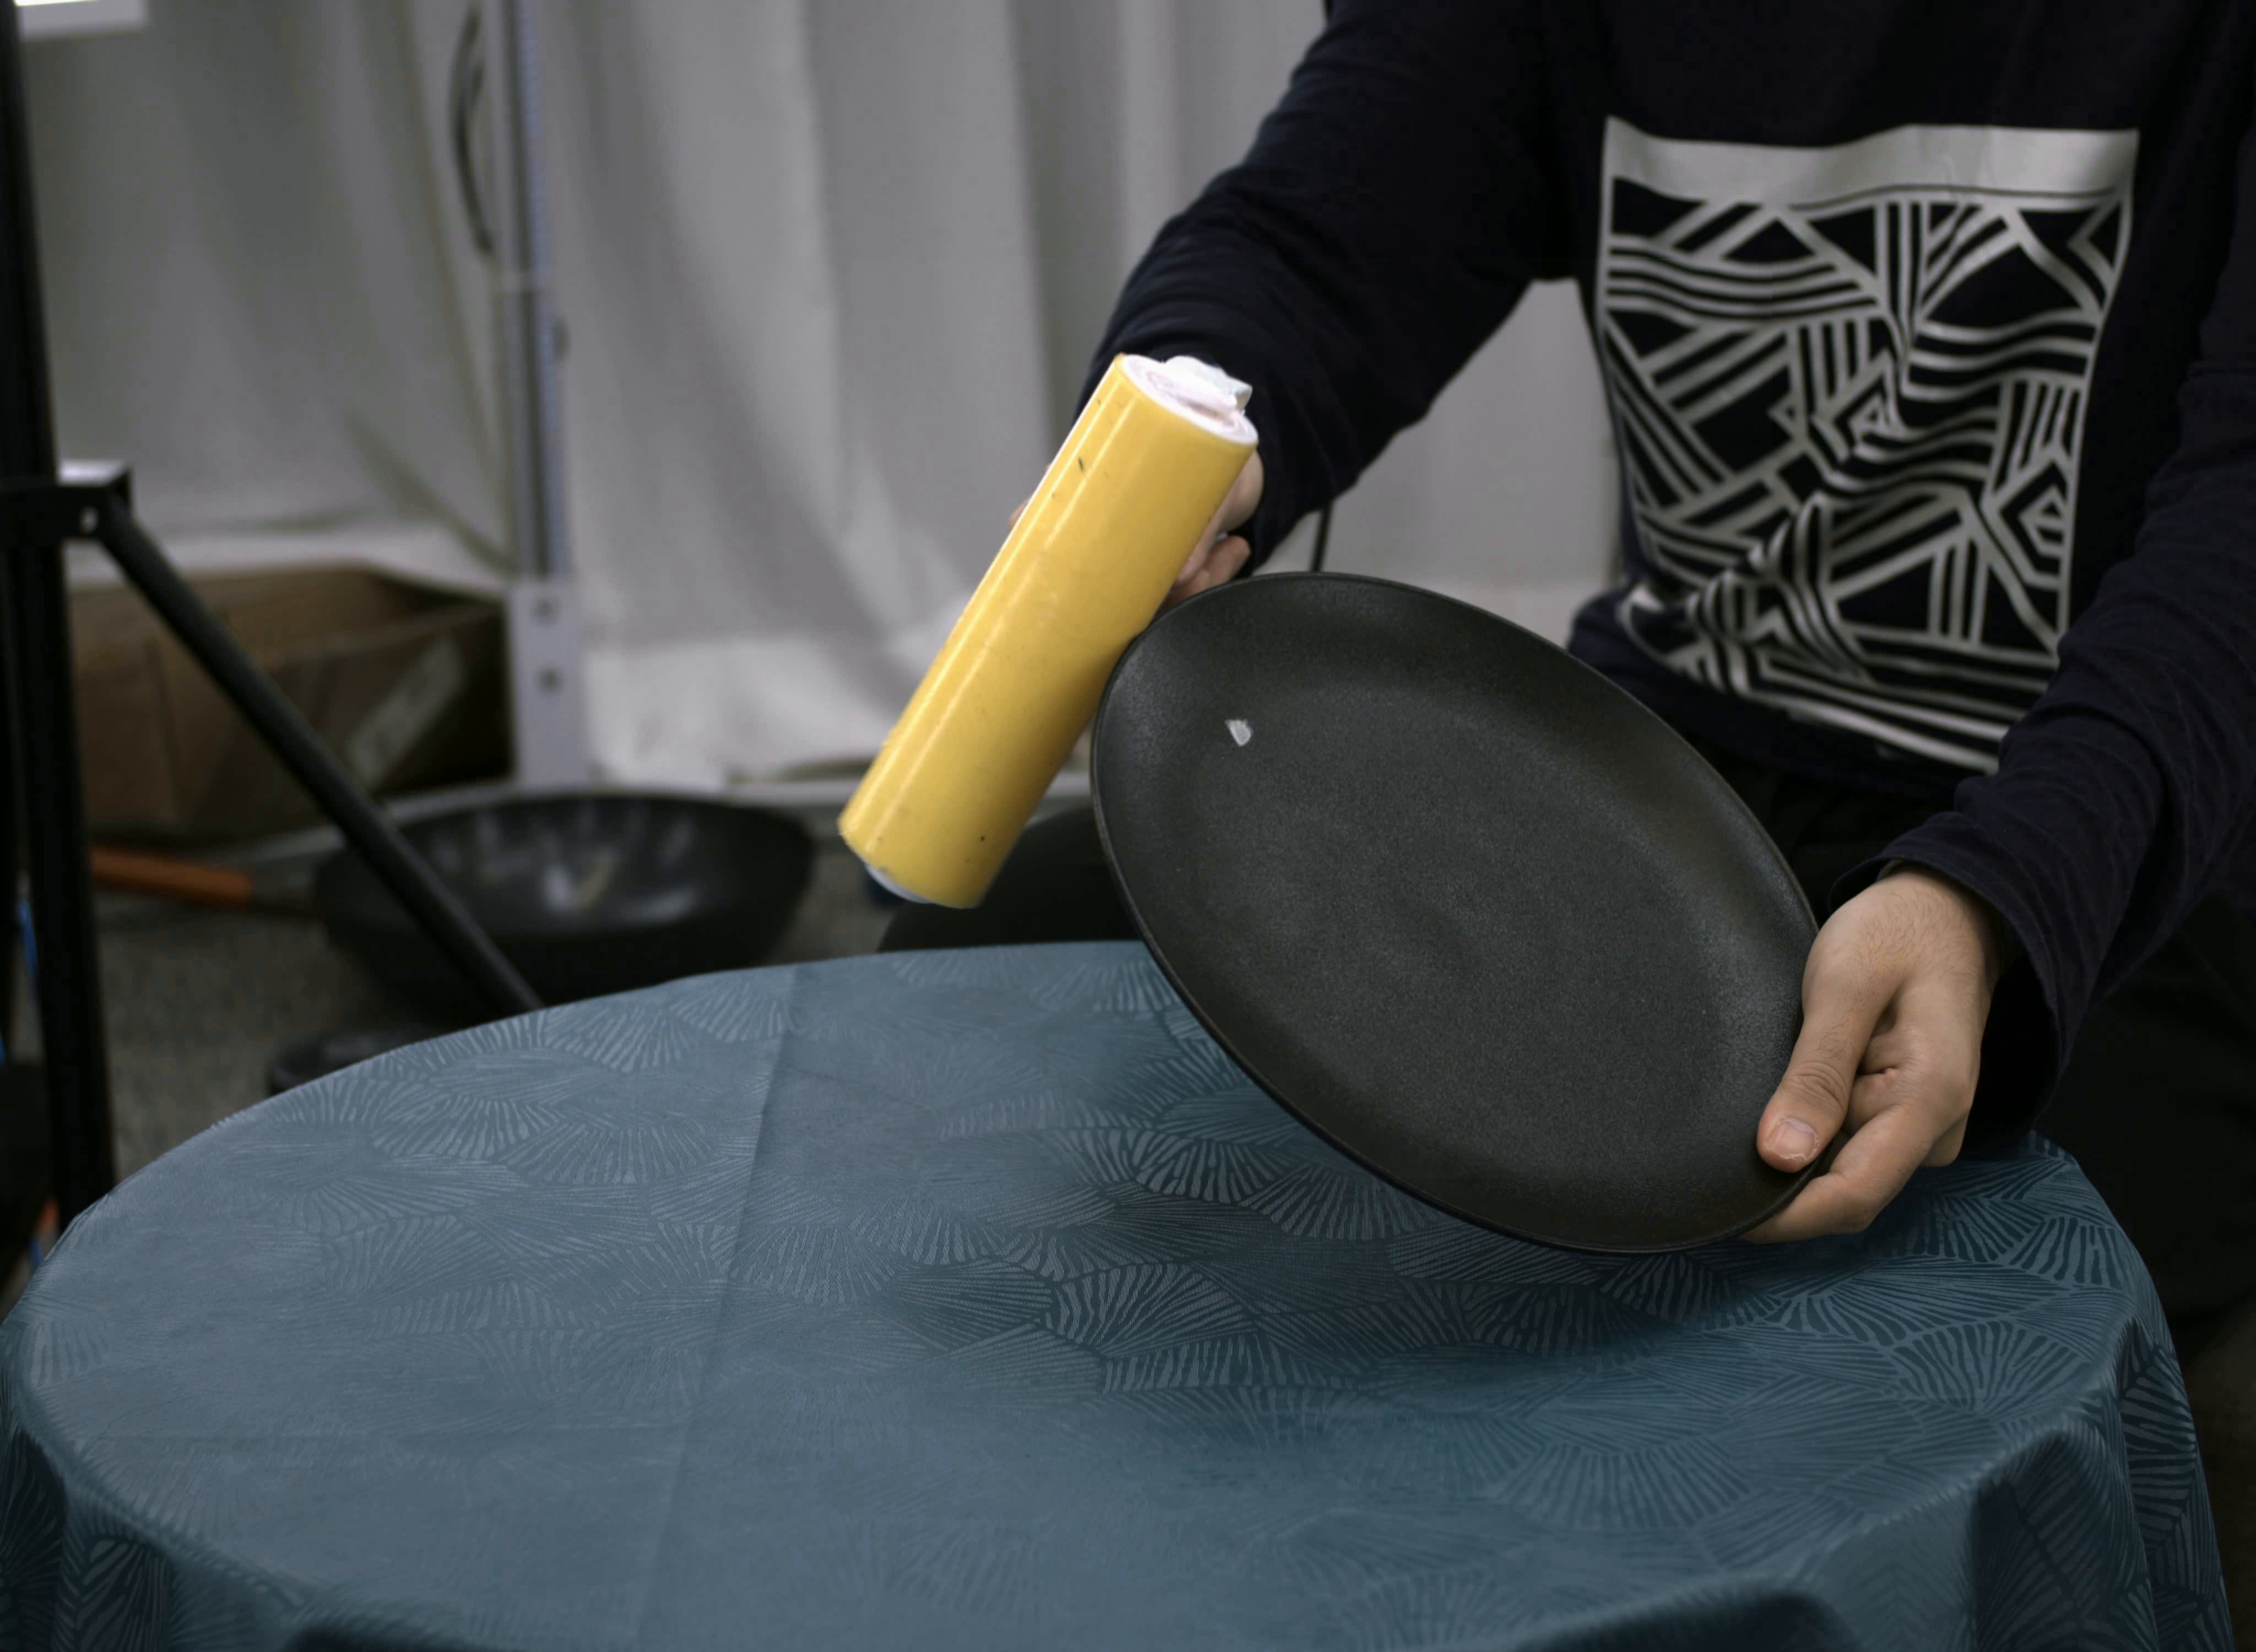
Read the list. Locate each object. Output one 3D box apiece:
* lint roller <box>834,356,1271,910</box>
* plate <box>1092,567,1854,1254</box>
[{"bbox_3d":[-0.012,-0.070,1.581,0.051,0.175,0.191,33,16,-2],"label":"lint roller"},{"bbox_3d":[0.096,0.026,1.496,0.240,0.023,0.247,17,43,-18],"label":"plate"}]
